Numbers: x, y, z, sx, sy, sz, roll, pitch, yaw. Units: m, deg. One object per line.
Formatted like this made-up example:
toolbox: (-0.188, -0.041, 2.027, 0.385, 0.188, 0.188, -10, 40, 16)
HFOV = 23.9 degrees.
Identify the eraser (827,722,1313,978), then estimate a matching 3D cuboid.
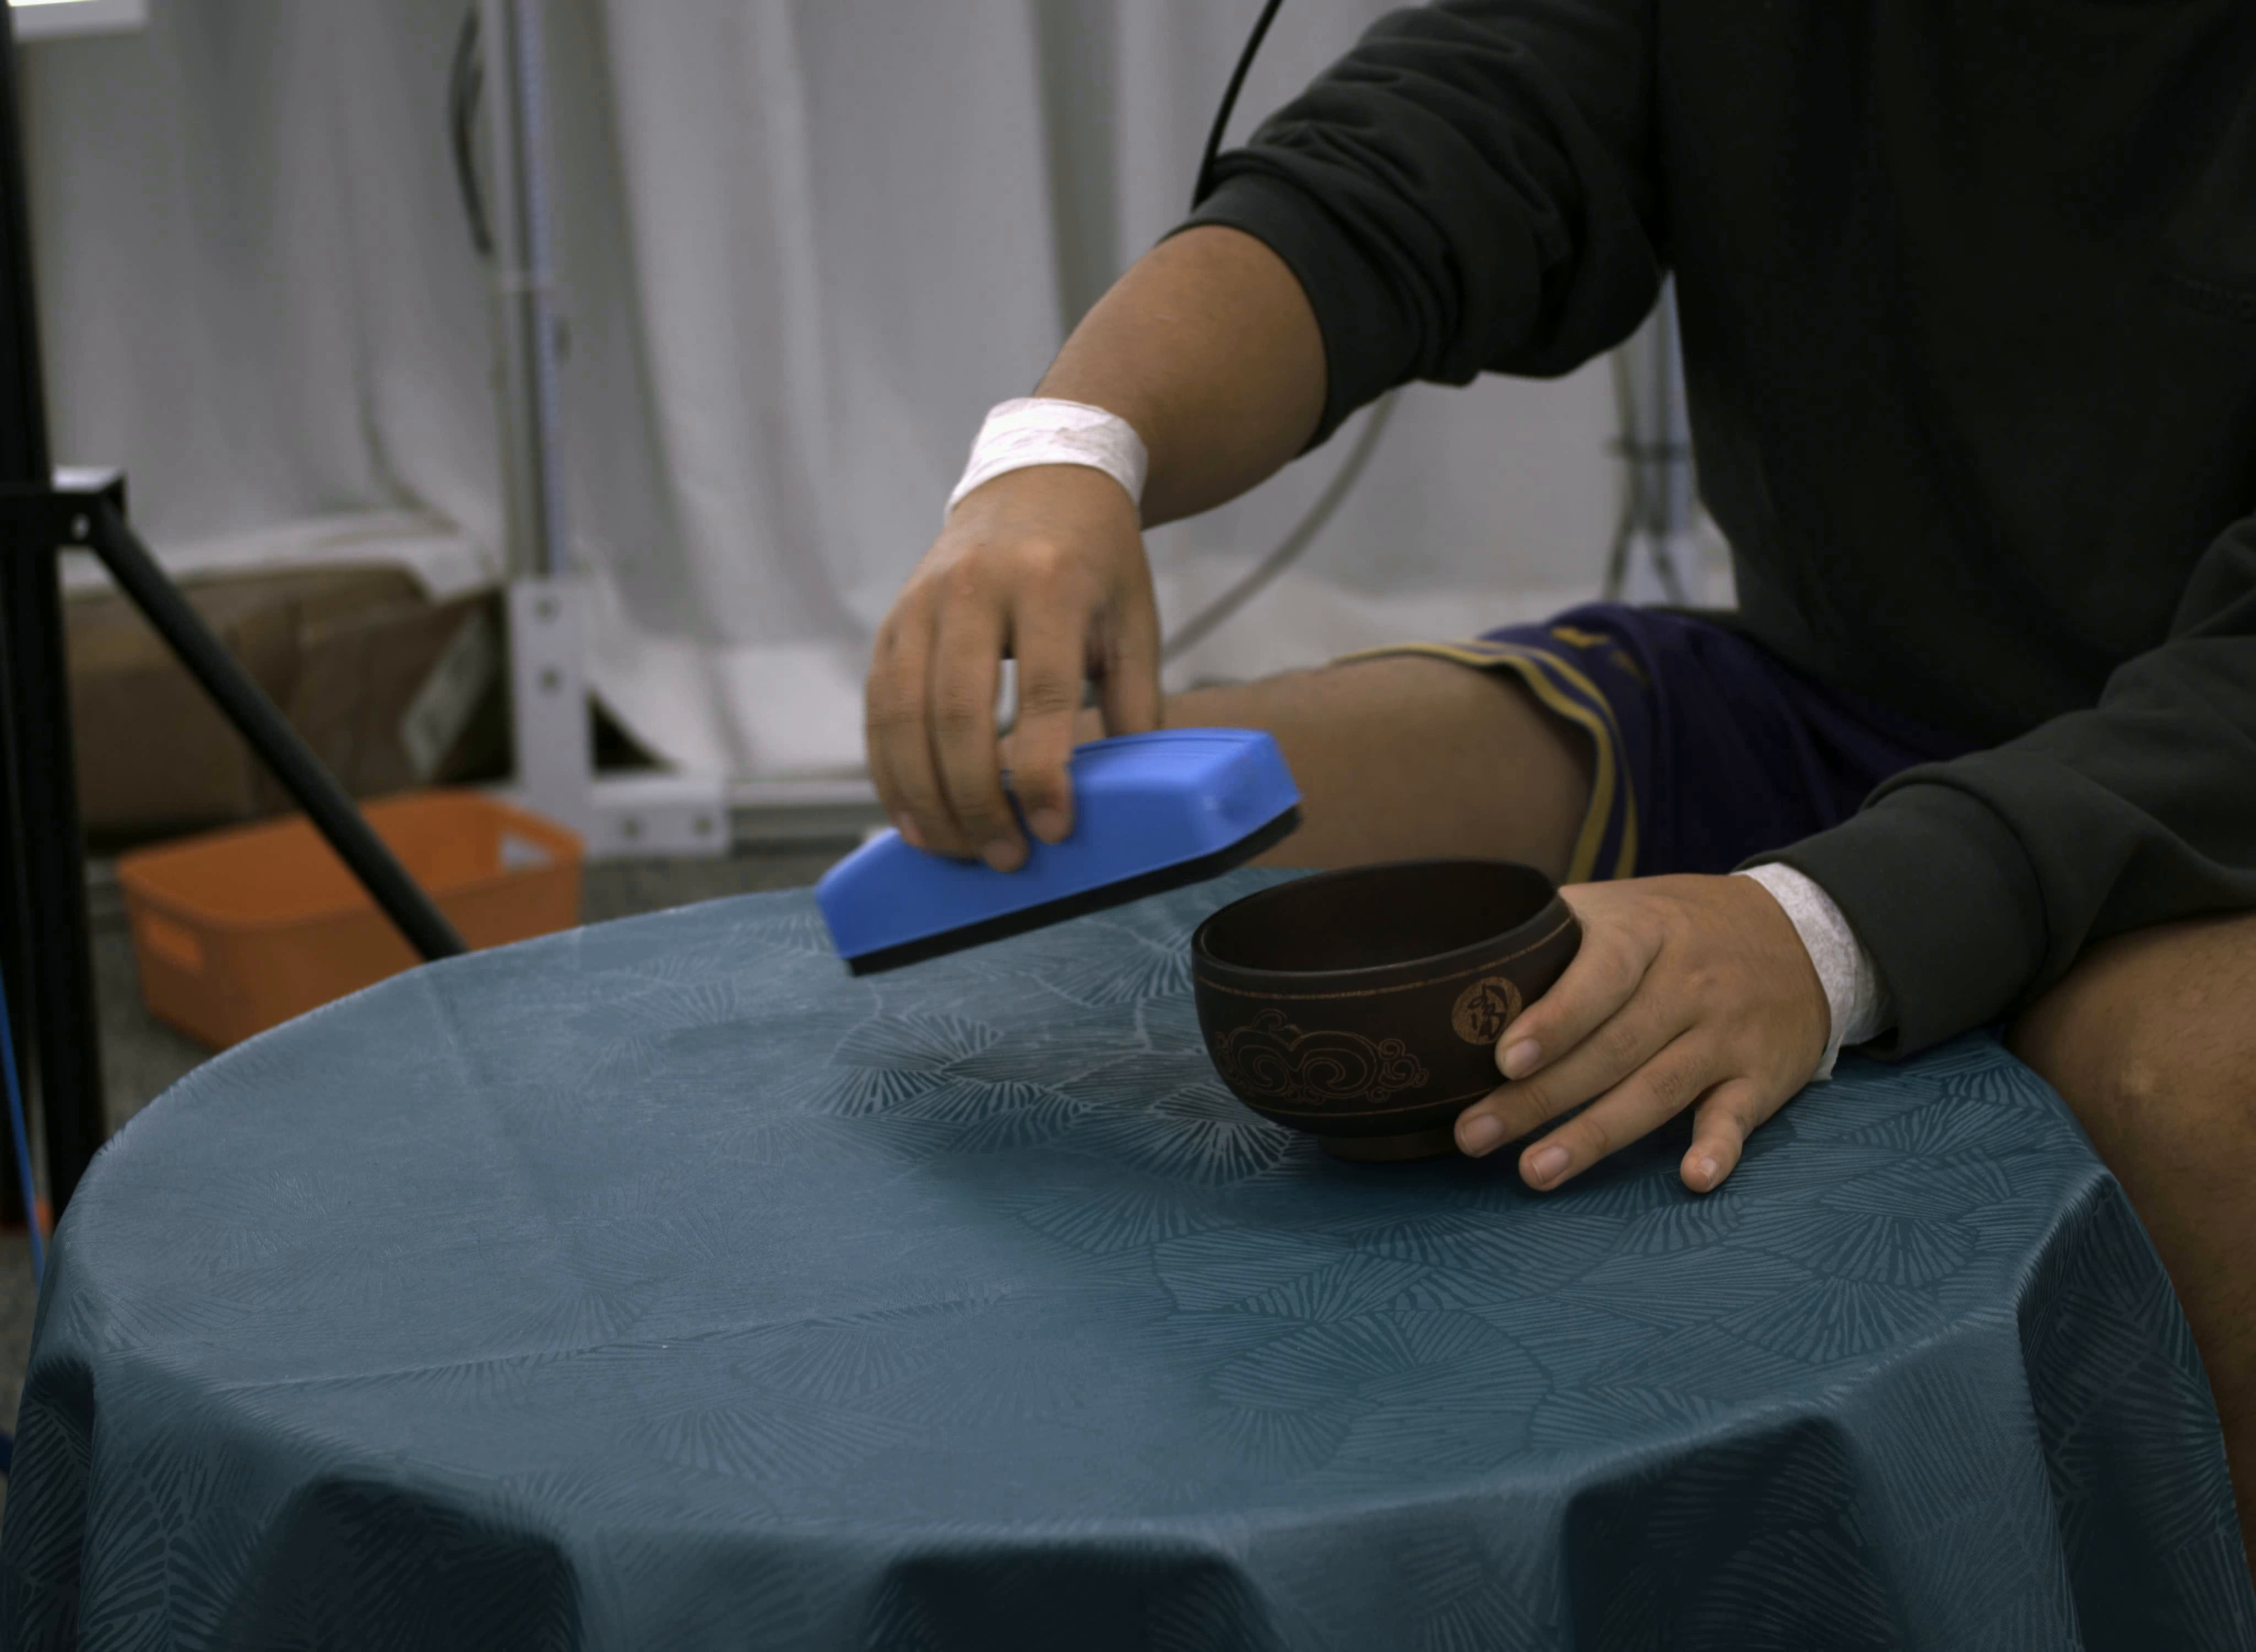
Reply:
eraser: (-0.021, 0.003, 1.641, 0.165, 0.047, 0.053, -17, 13, 36)

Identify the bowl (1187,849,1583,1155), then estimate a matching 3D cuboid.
bowl: (0.079, 0.057, 1.583, 0.117, 0.070, 0.118, -9, 13, 1)
